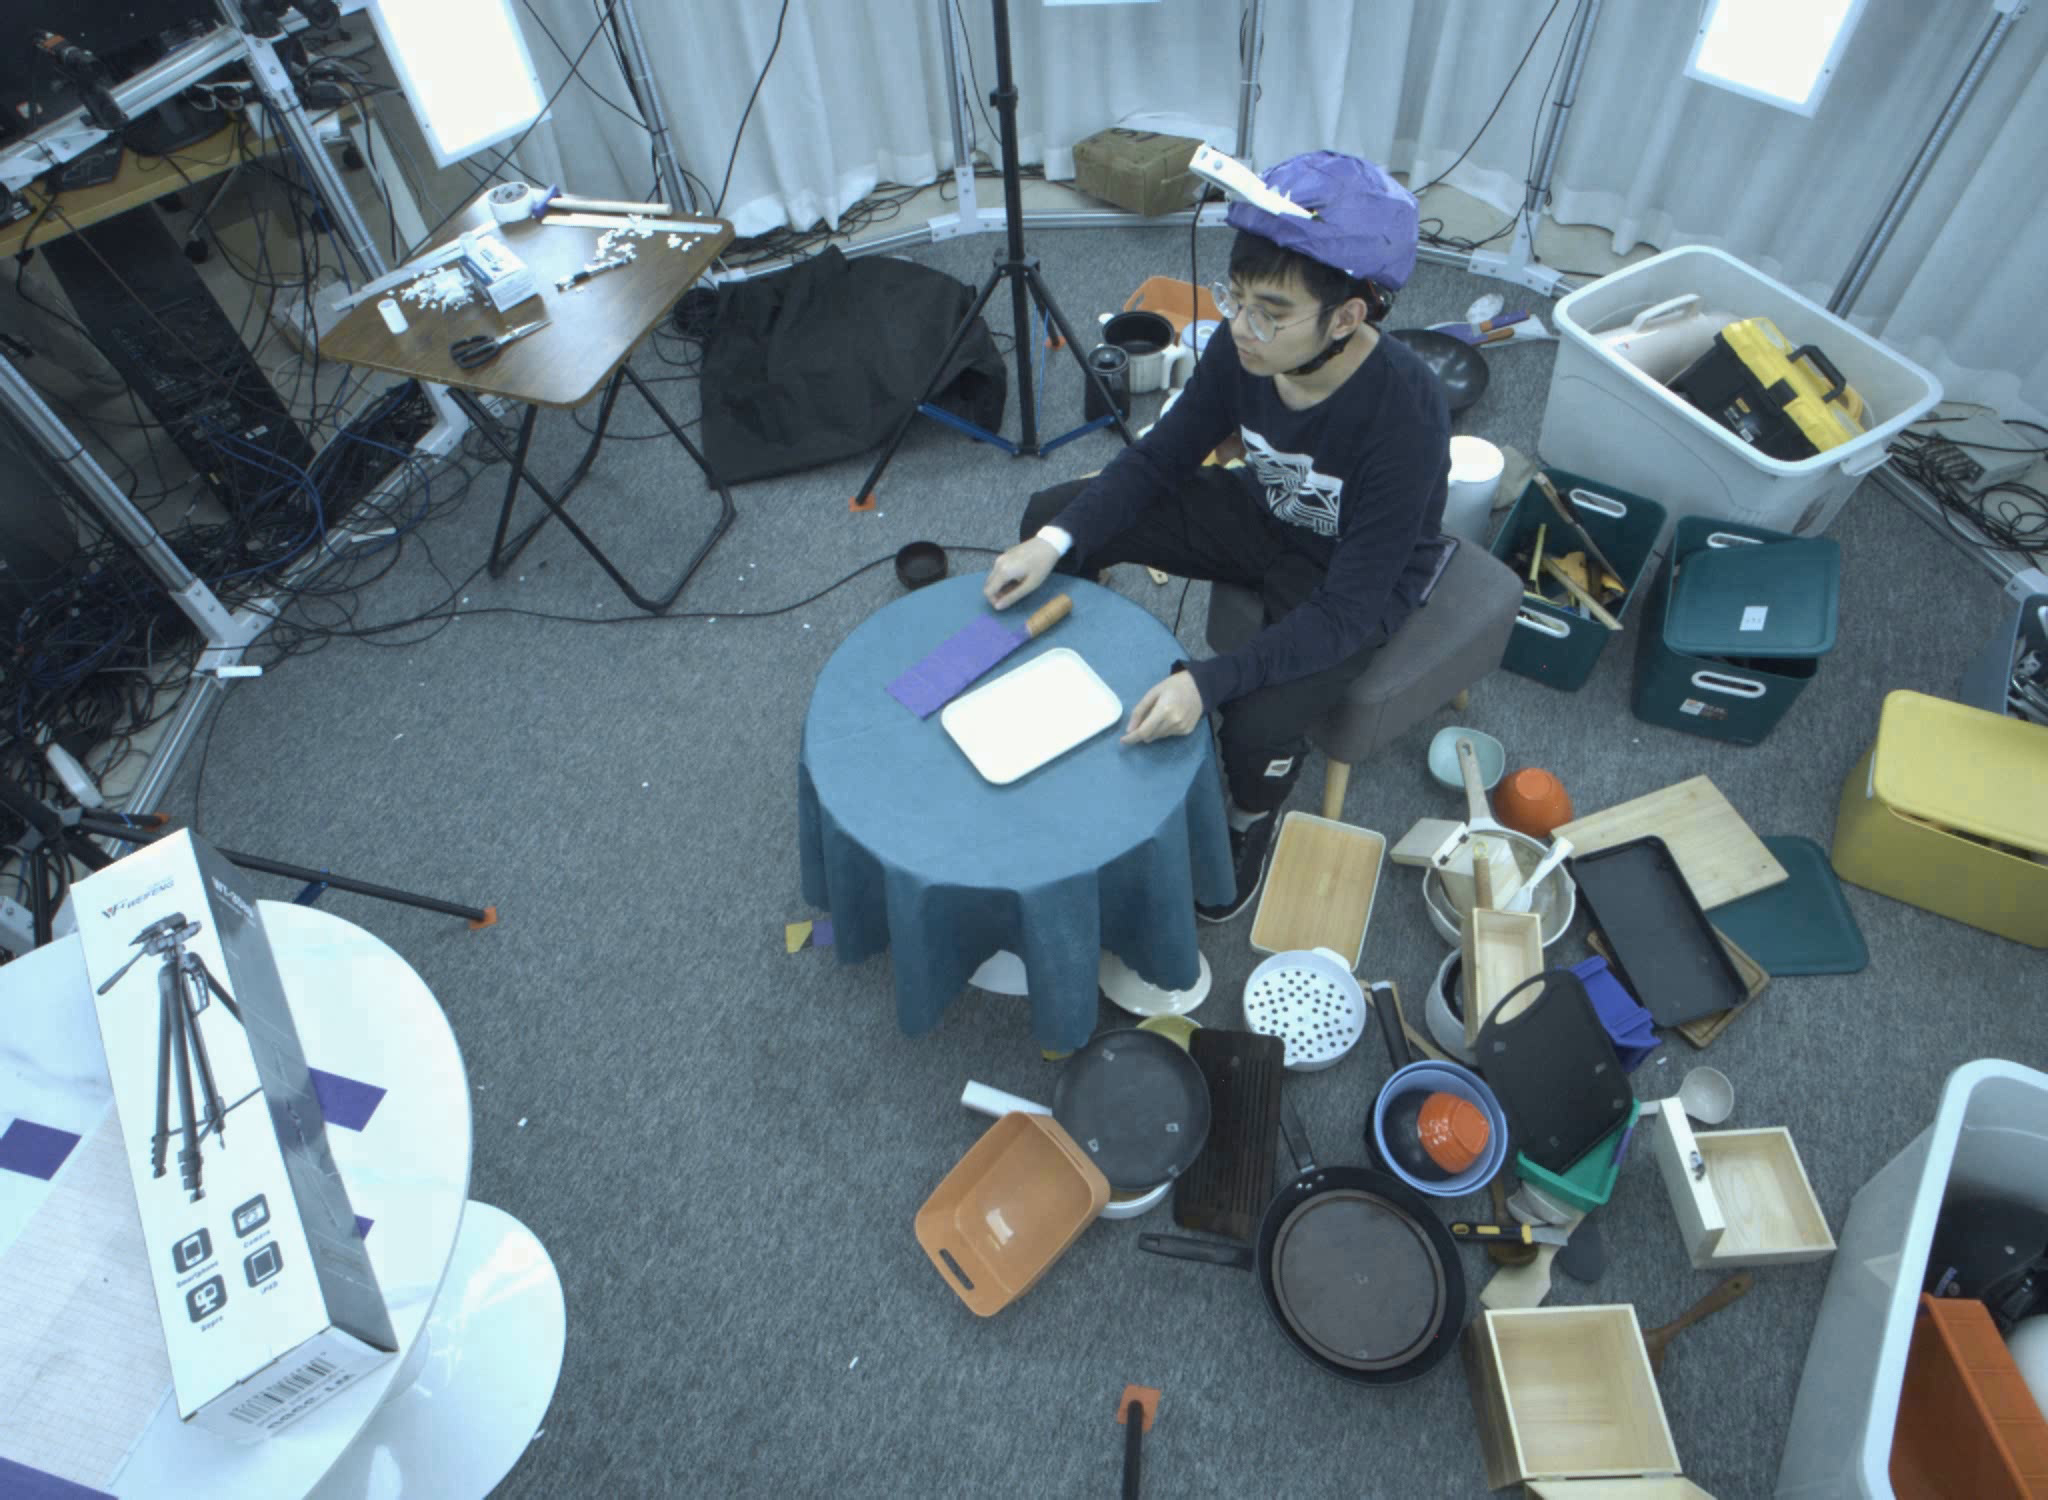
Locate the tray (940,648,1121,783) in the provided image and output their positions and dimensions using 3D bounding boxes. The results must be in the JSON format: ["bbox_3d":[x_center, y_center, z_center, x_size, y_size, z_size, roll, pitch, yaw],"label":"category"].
[{"bbox_3d":[0.010,-0.052,1.821,0.241,0.017,0.168,-29,58,-18],"label":"tray"}]

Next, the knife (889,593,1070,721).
[{"bbox_3d":[-0.070,-0.163,1.897,0.317,0.032,0.102,-39,62,-23],"label":"knife"}]
